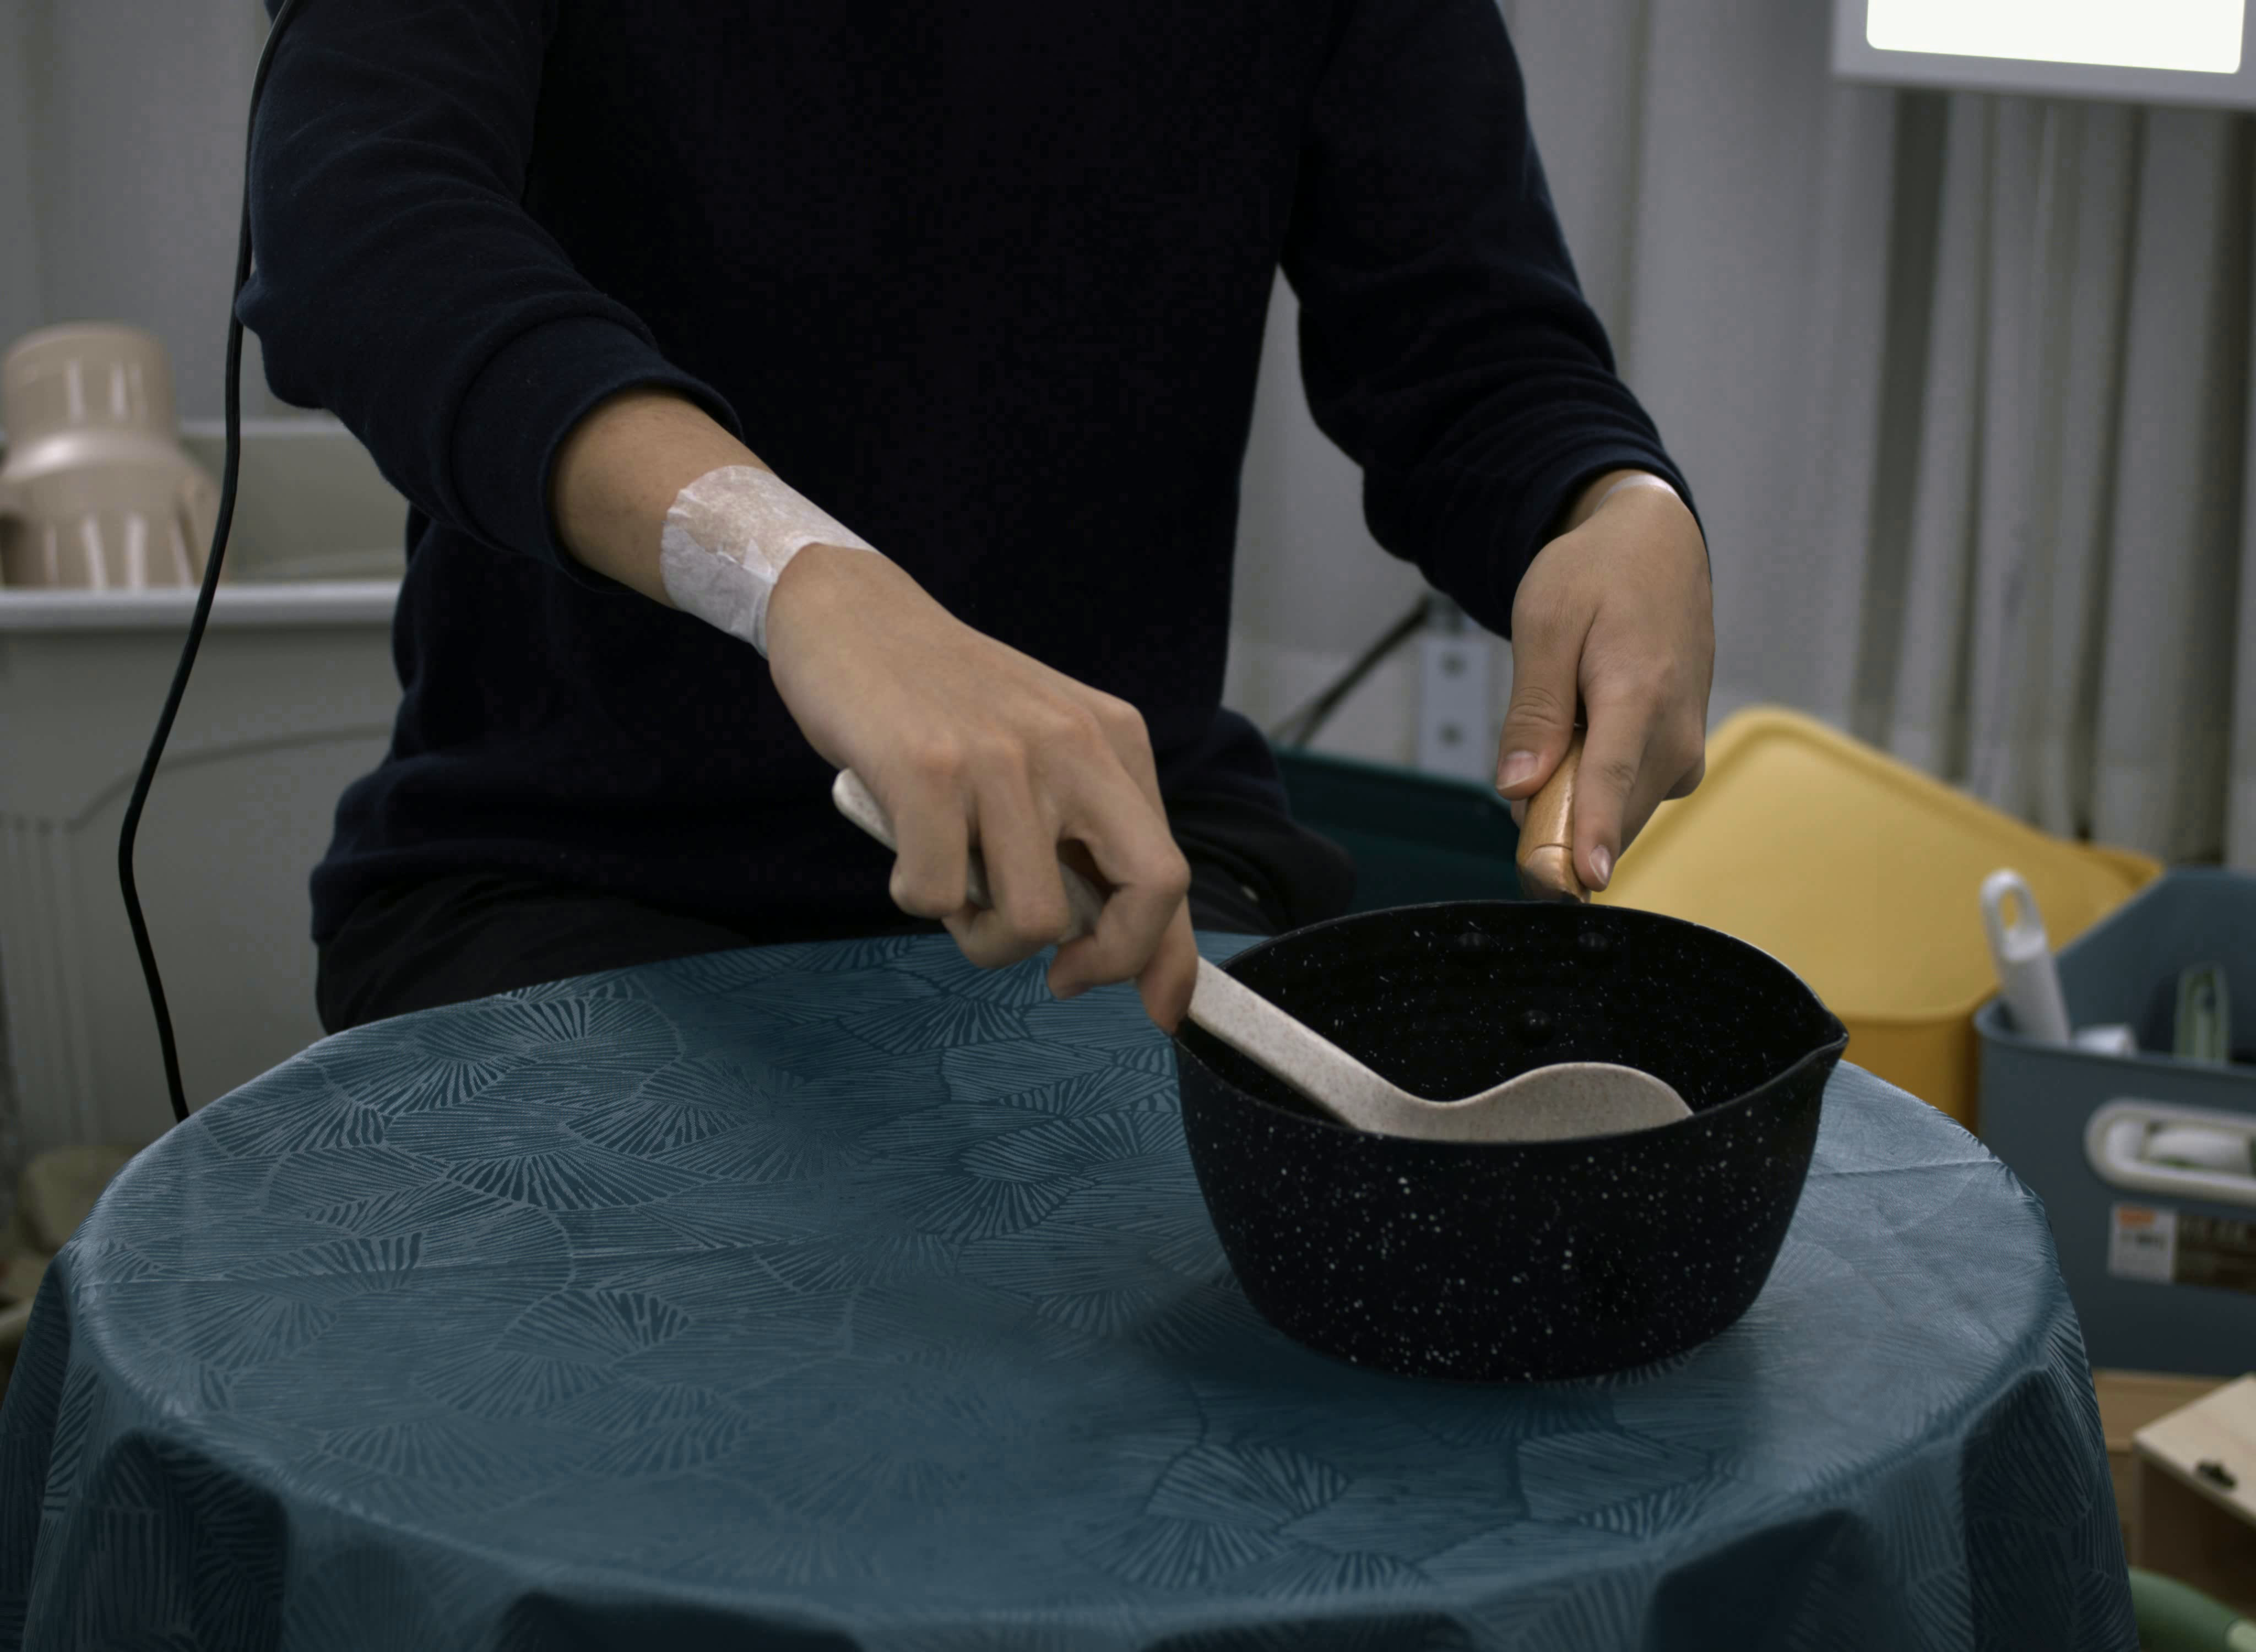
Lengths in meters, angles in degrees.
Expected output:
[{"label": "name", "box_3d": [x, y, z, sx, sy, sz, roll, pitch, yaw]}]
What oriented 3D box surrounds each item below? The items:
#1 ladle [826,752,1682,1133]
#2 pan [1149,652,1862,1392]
[{"label": "ladle", "box_3d": [0.042, 0.045, 1.469, 0.277, 0.089, 0.069, 34, -36, -21]}, {"label": "pan", "box_3d": [0.120, 0.054, 1.589, 0.206, 0.109, 0.341, 1, 22, 10]}]
